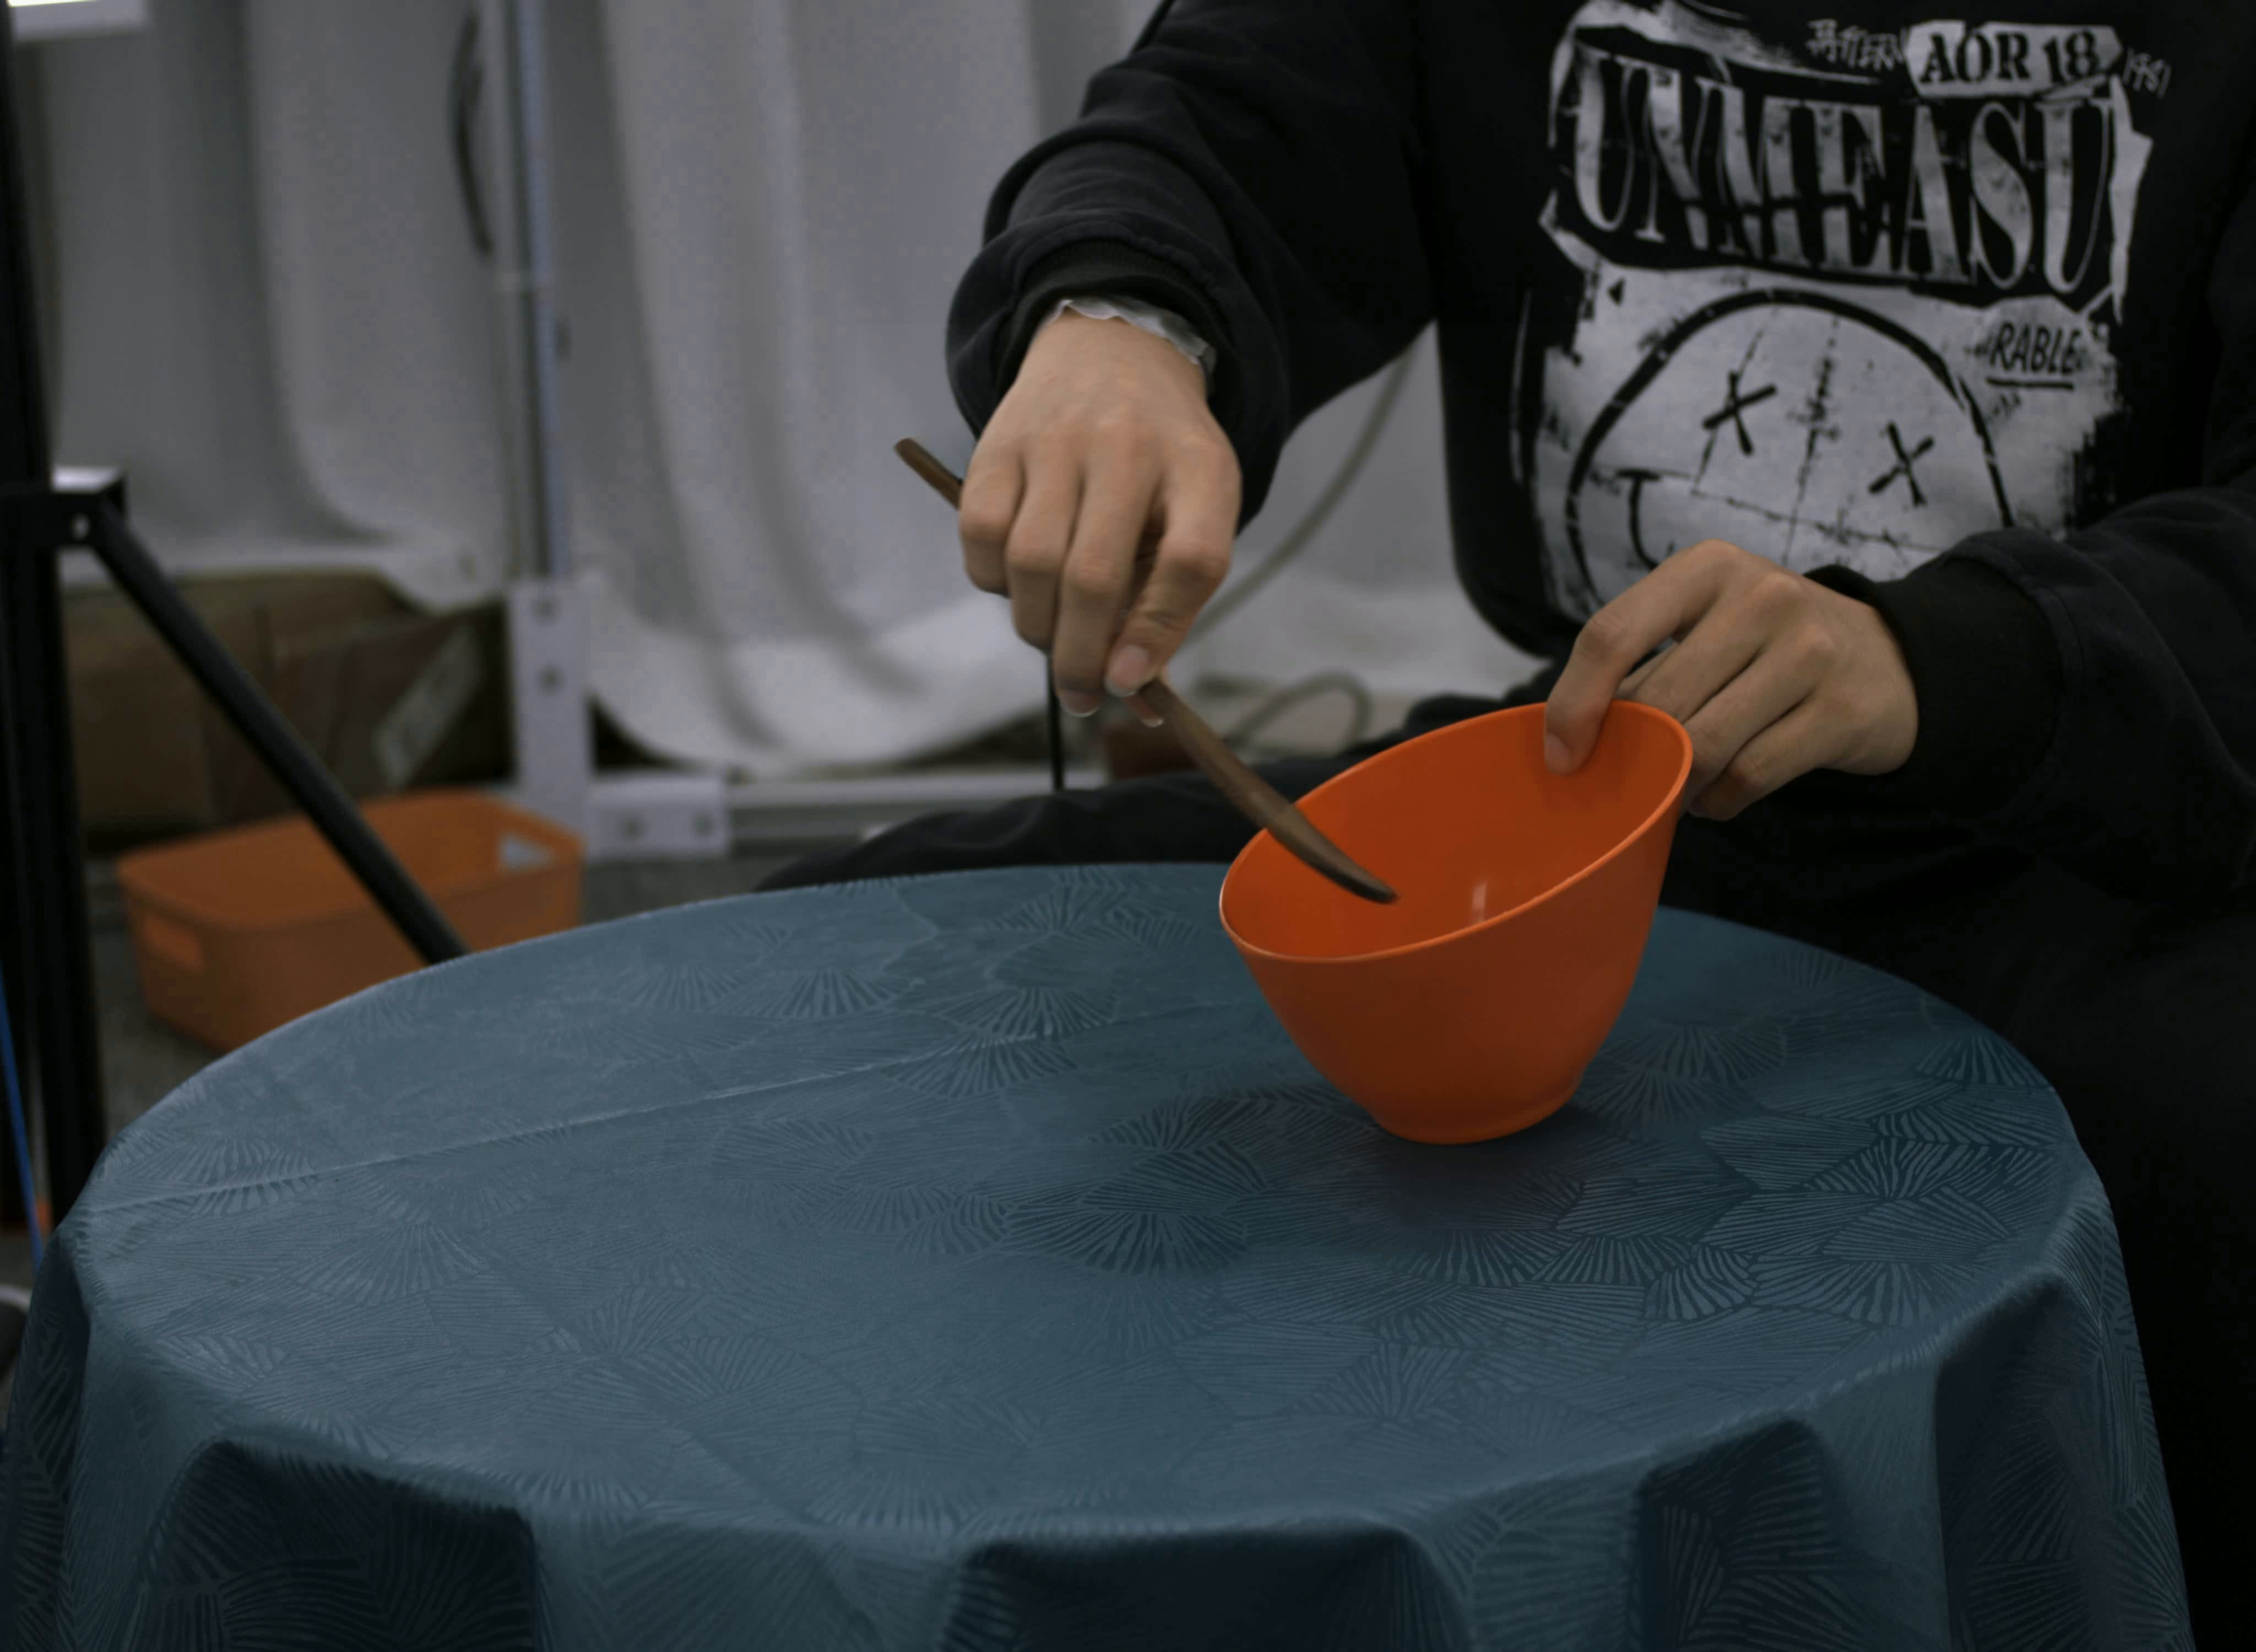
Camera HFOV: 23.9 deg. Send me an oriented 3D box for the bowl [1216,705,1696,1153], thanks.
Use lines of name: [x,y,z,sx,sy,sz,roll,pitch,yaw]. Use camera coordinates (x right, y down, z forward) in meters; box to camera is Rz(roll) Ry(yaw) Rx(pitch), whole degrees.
bowl: [0.104,0.037,1.581,0.148,0.104,0.149,-12,27,5]

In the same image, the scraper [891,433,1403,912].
scraper: [0.001,-0.045,1.560,0.215,0.011,0.074,46,8,23]
